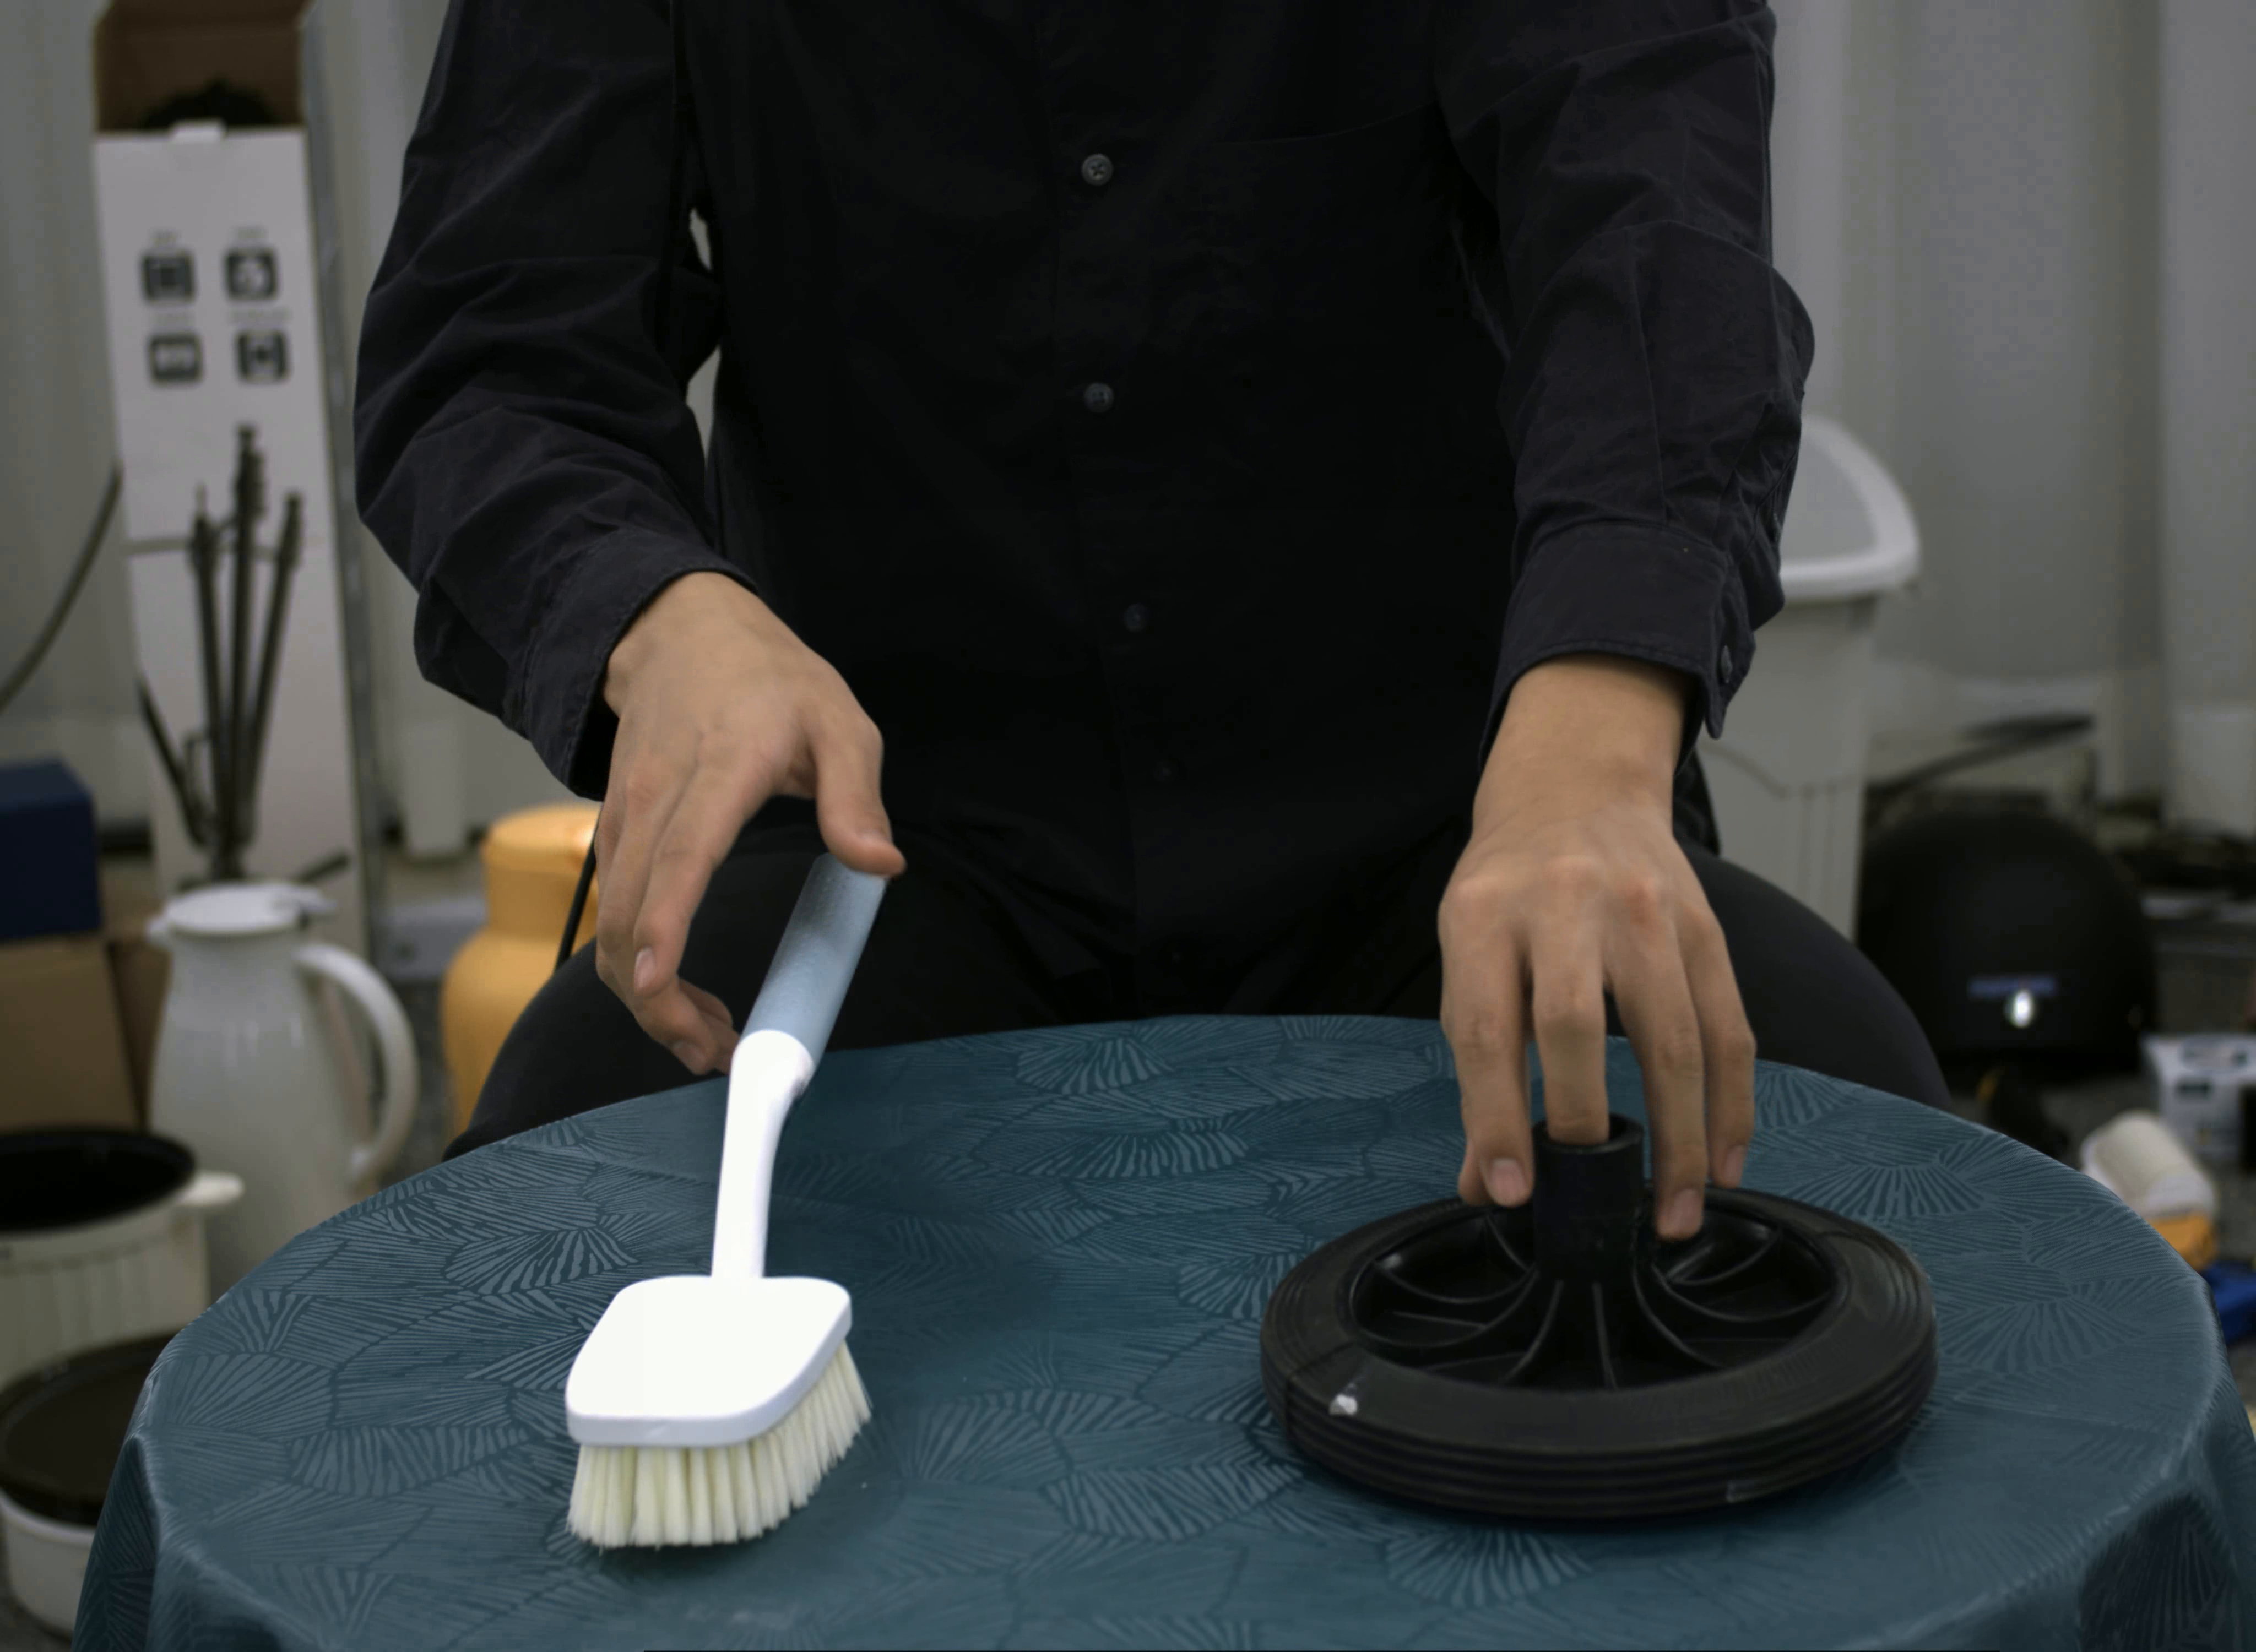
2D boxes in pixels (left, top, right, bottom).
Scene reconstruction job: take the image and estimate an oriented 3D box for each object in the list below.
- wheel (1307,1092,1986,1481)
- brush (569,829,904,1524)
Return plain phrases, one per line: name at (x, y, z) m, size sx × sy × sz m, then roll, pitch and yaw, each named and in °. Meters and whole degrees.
wheel at (0.142, 0.116, 1.521) m, size 0.190 × 0.079 × 0.187 m, roll 7°, pitch 22°, yaw 36°
brush at (-0.097, 0.113, 1.585) m, size 0.083 × 0.084 × 0.329 m, roll 32°, pitch 28°, yaw -8°
